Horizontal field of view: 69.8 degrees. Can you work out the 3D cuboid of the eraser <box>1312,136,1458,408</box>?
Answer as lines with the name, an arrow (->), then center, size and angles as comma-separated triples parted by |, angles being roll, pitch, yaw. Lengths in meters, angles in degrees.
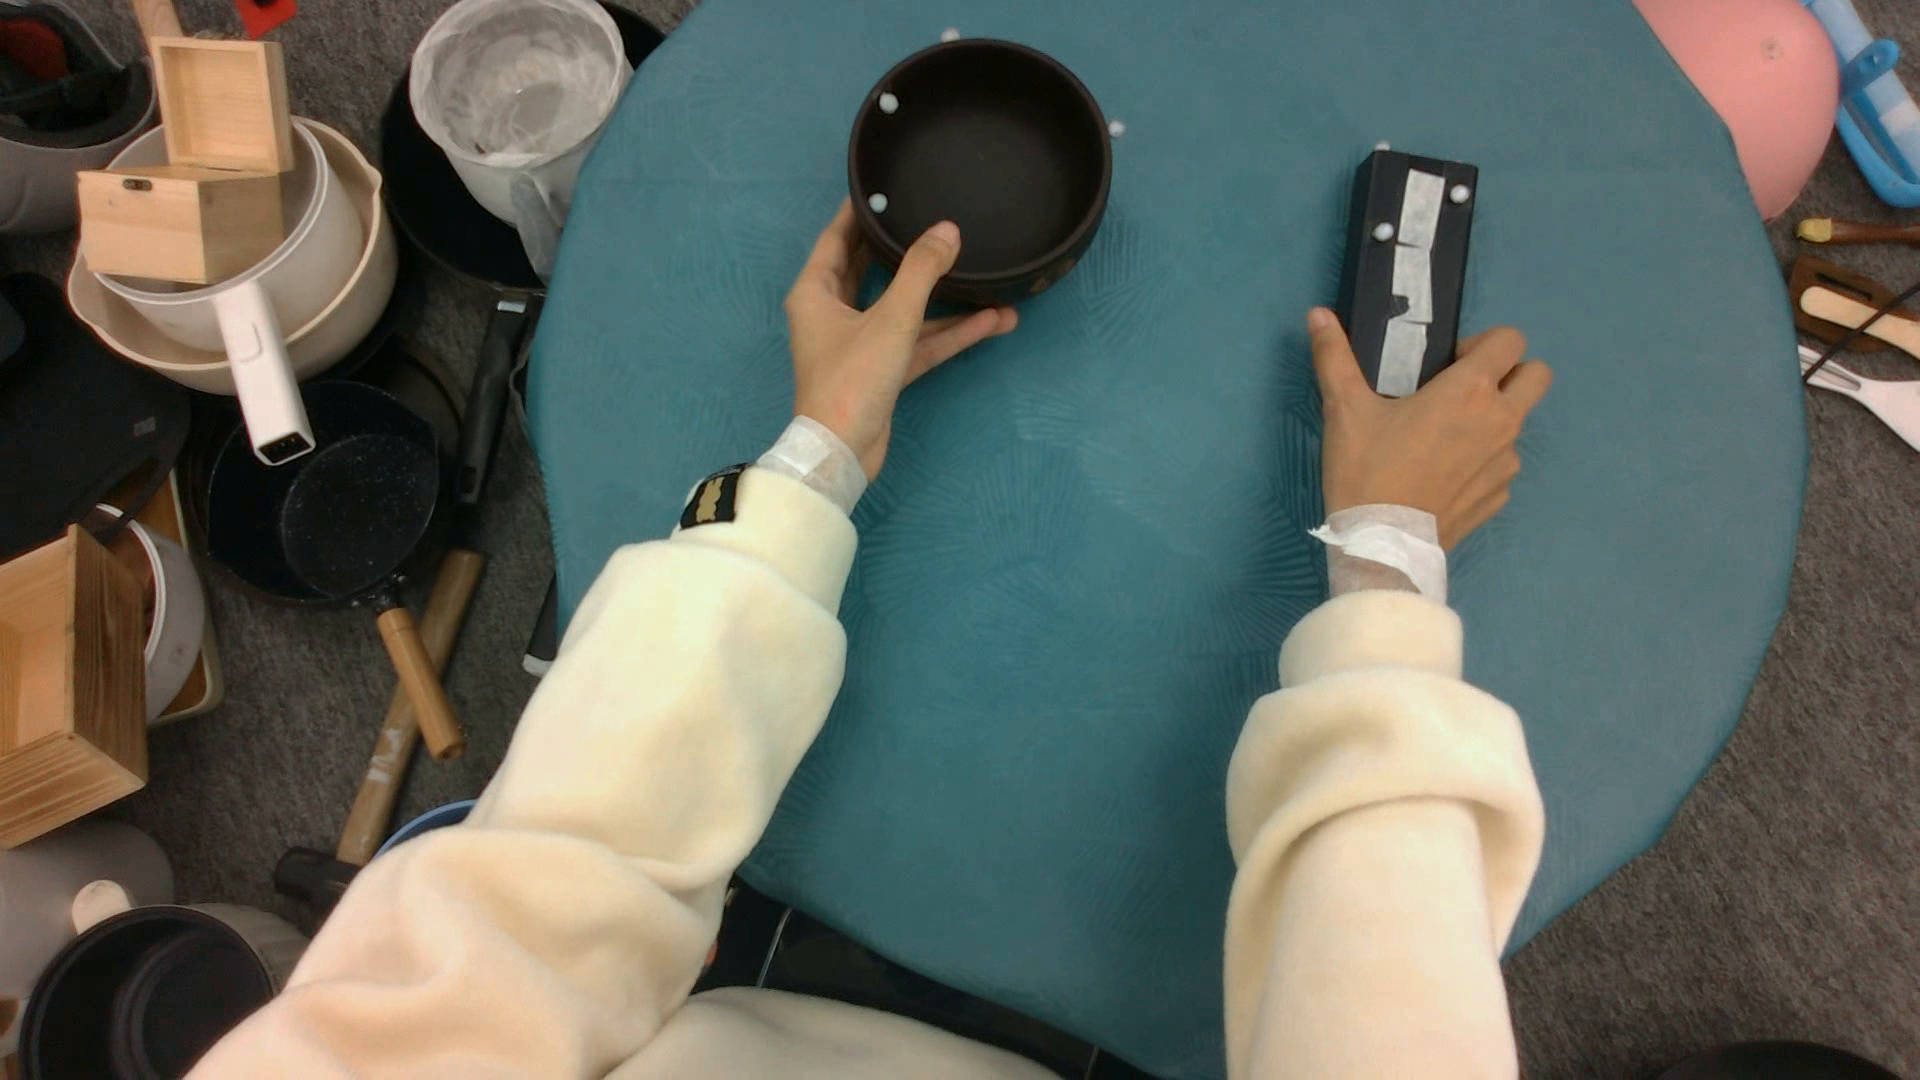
eraser -> 0.200, -0.127, 0.650 | 0.053, 0.030, 0.126 | 9, 81, 2

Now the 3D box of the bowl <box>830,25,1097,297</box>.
bowl -> 0.001, -0.165, 0.629 | 0.118, 0.070, 0.118 | 0, 79, -2
